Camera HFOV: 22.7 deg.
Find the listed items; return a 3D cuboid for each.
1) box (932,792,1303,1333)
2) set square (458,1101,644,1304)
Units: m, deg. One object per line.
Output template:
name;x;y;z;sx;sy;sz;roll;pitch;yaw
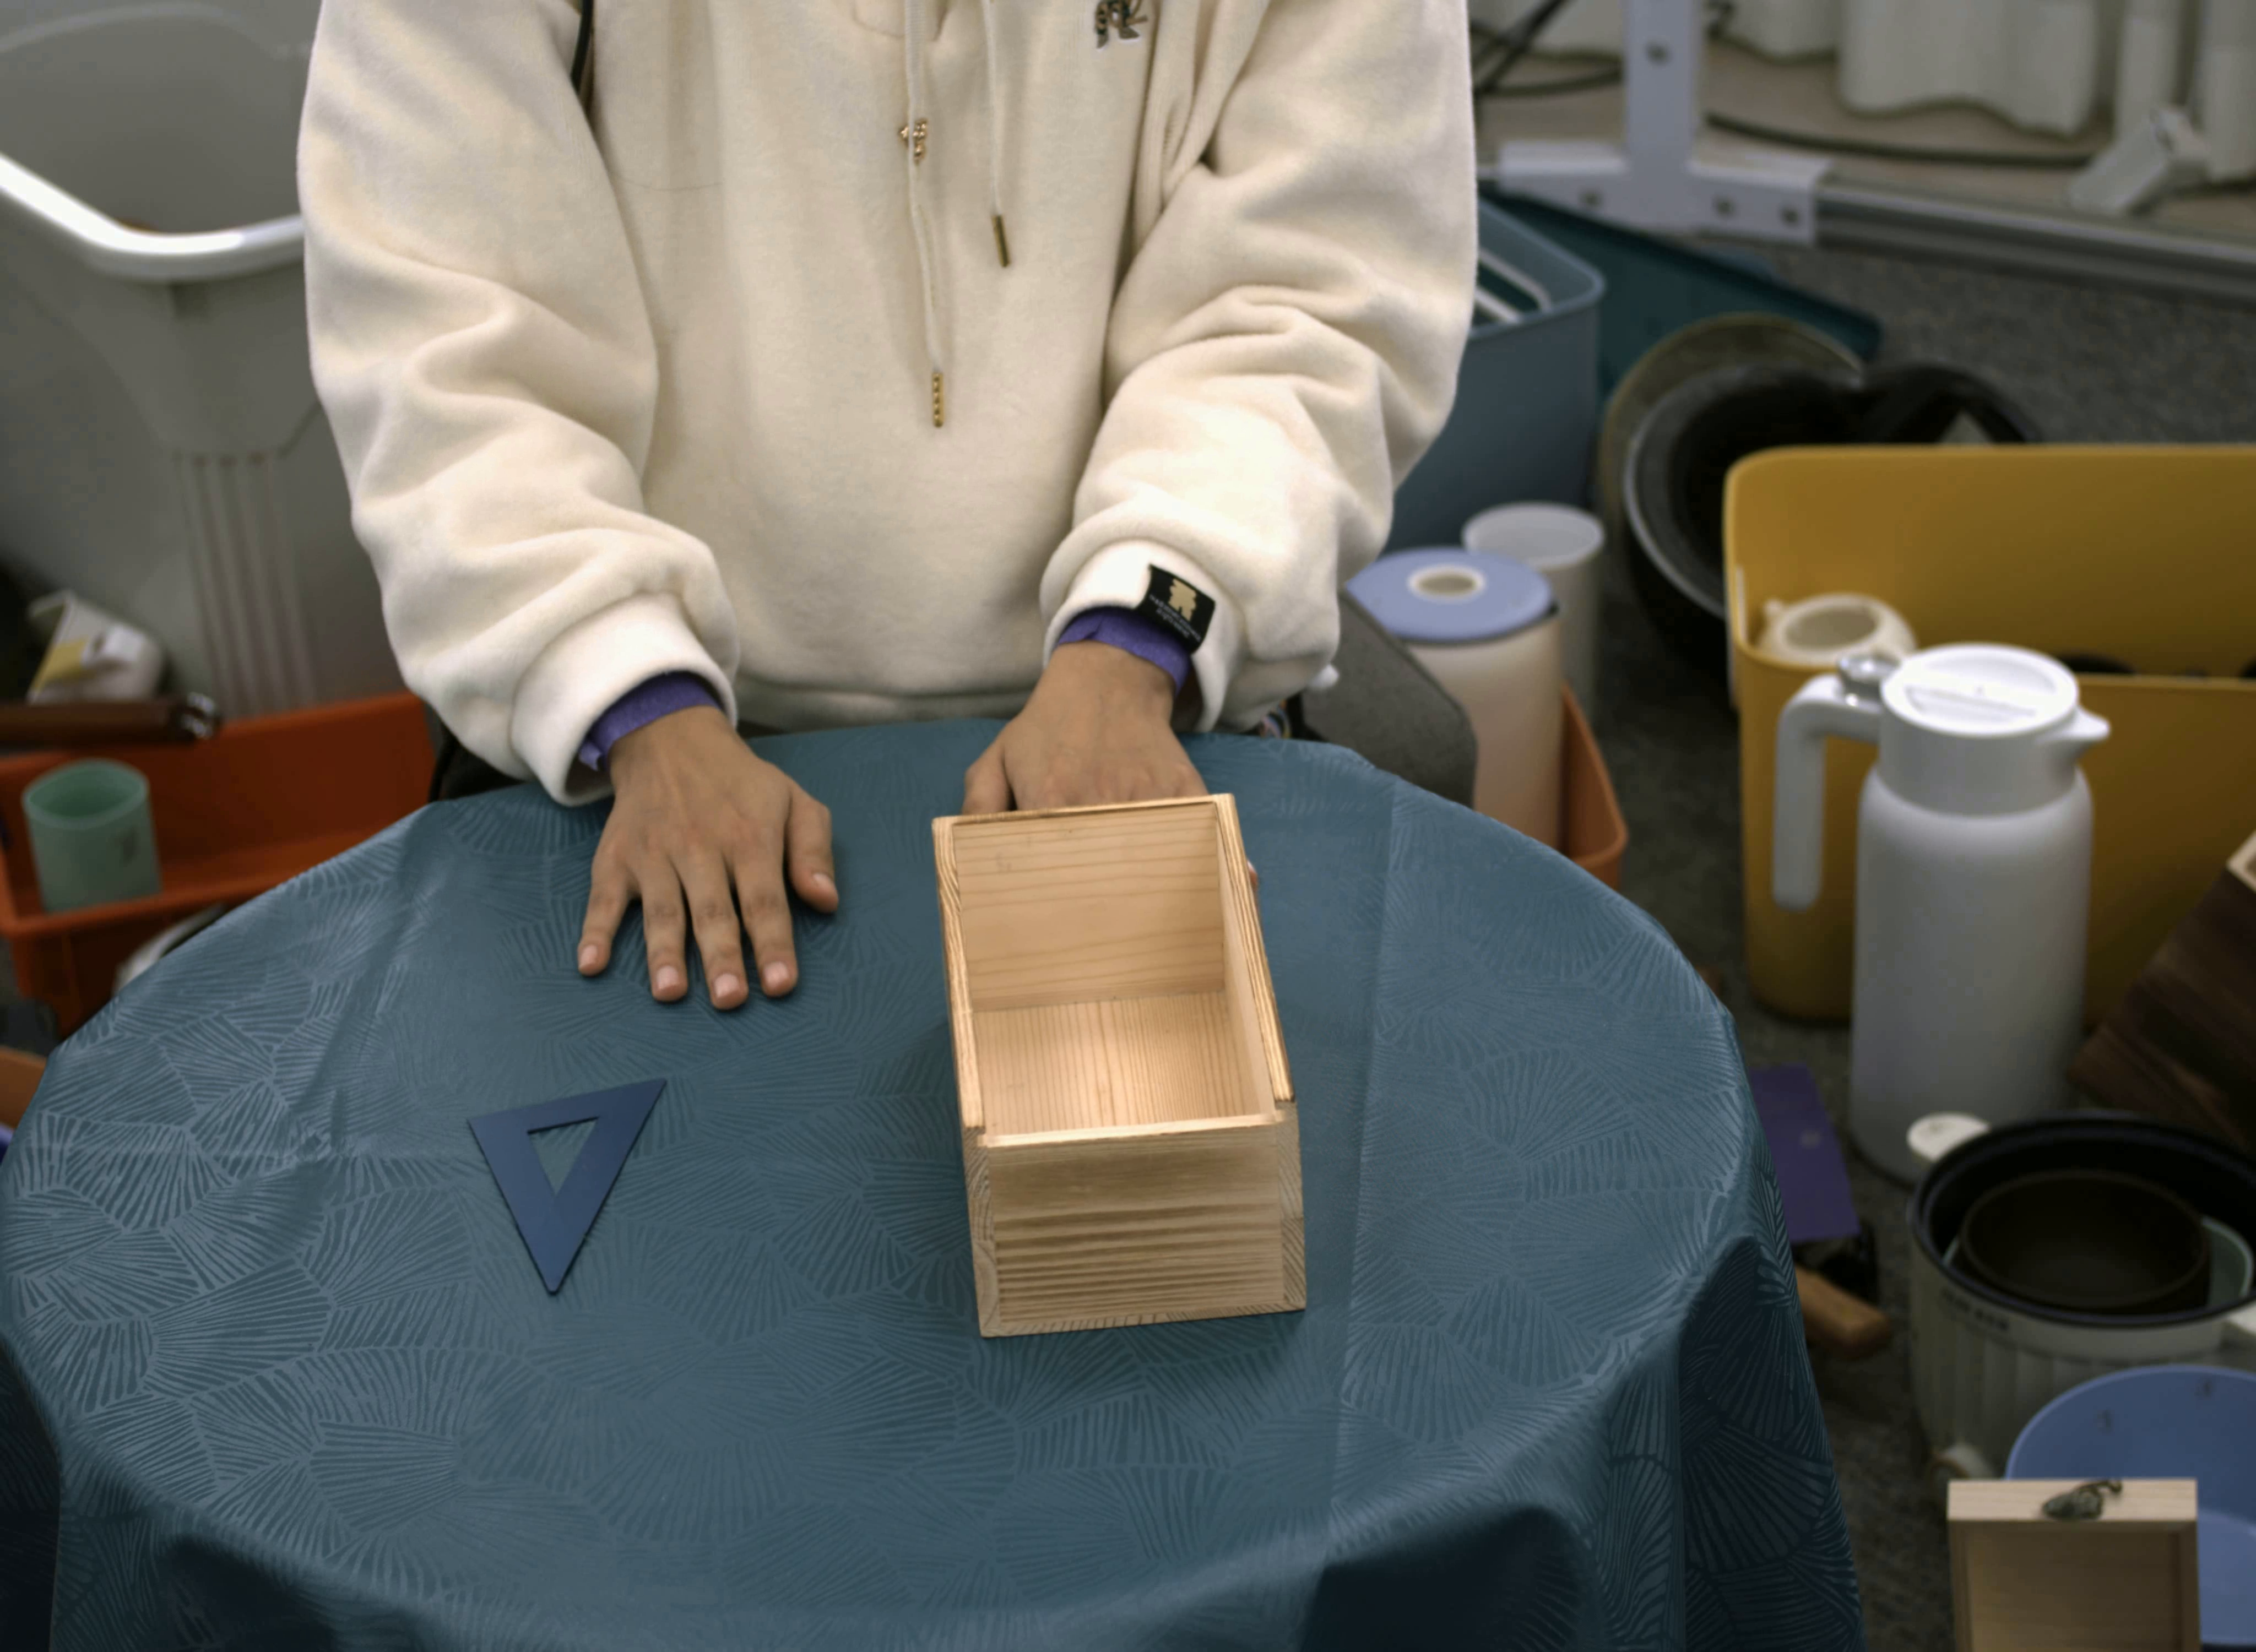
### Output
box;-0.006;0.075;1.866;0.107;0.079;0.214;-4;28;-4
set square;-0.209;0.122;1.877;0.061;0.006;0.134;5;28;14
